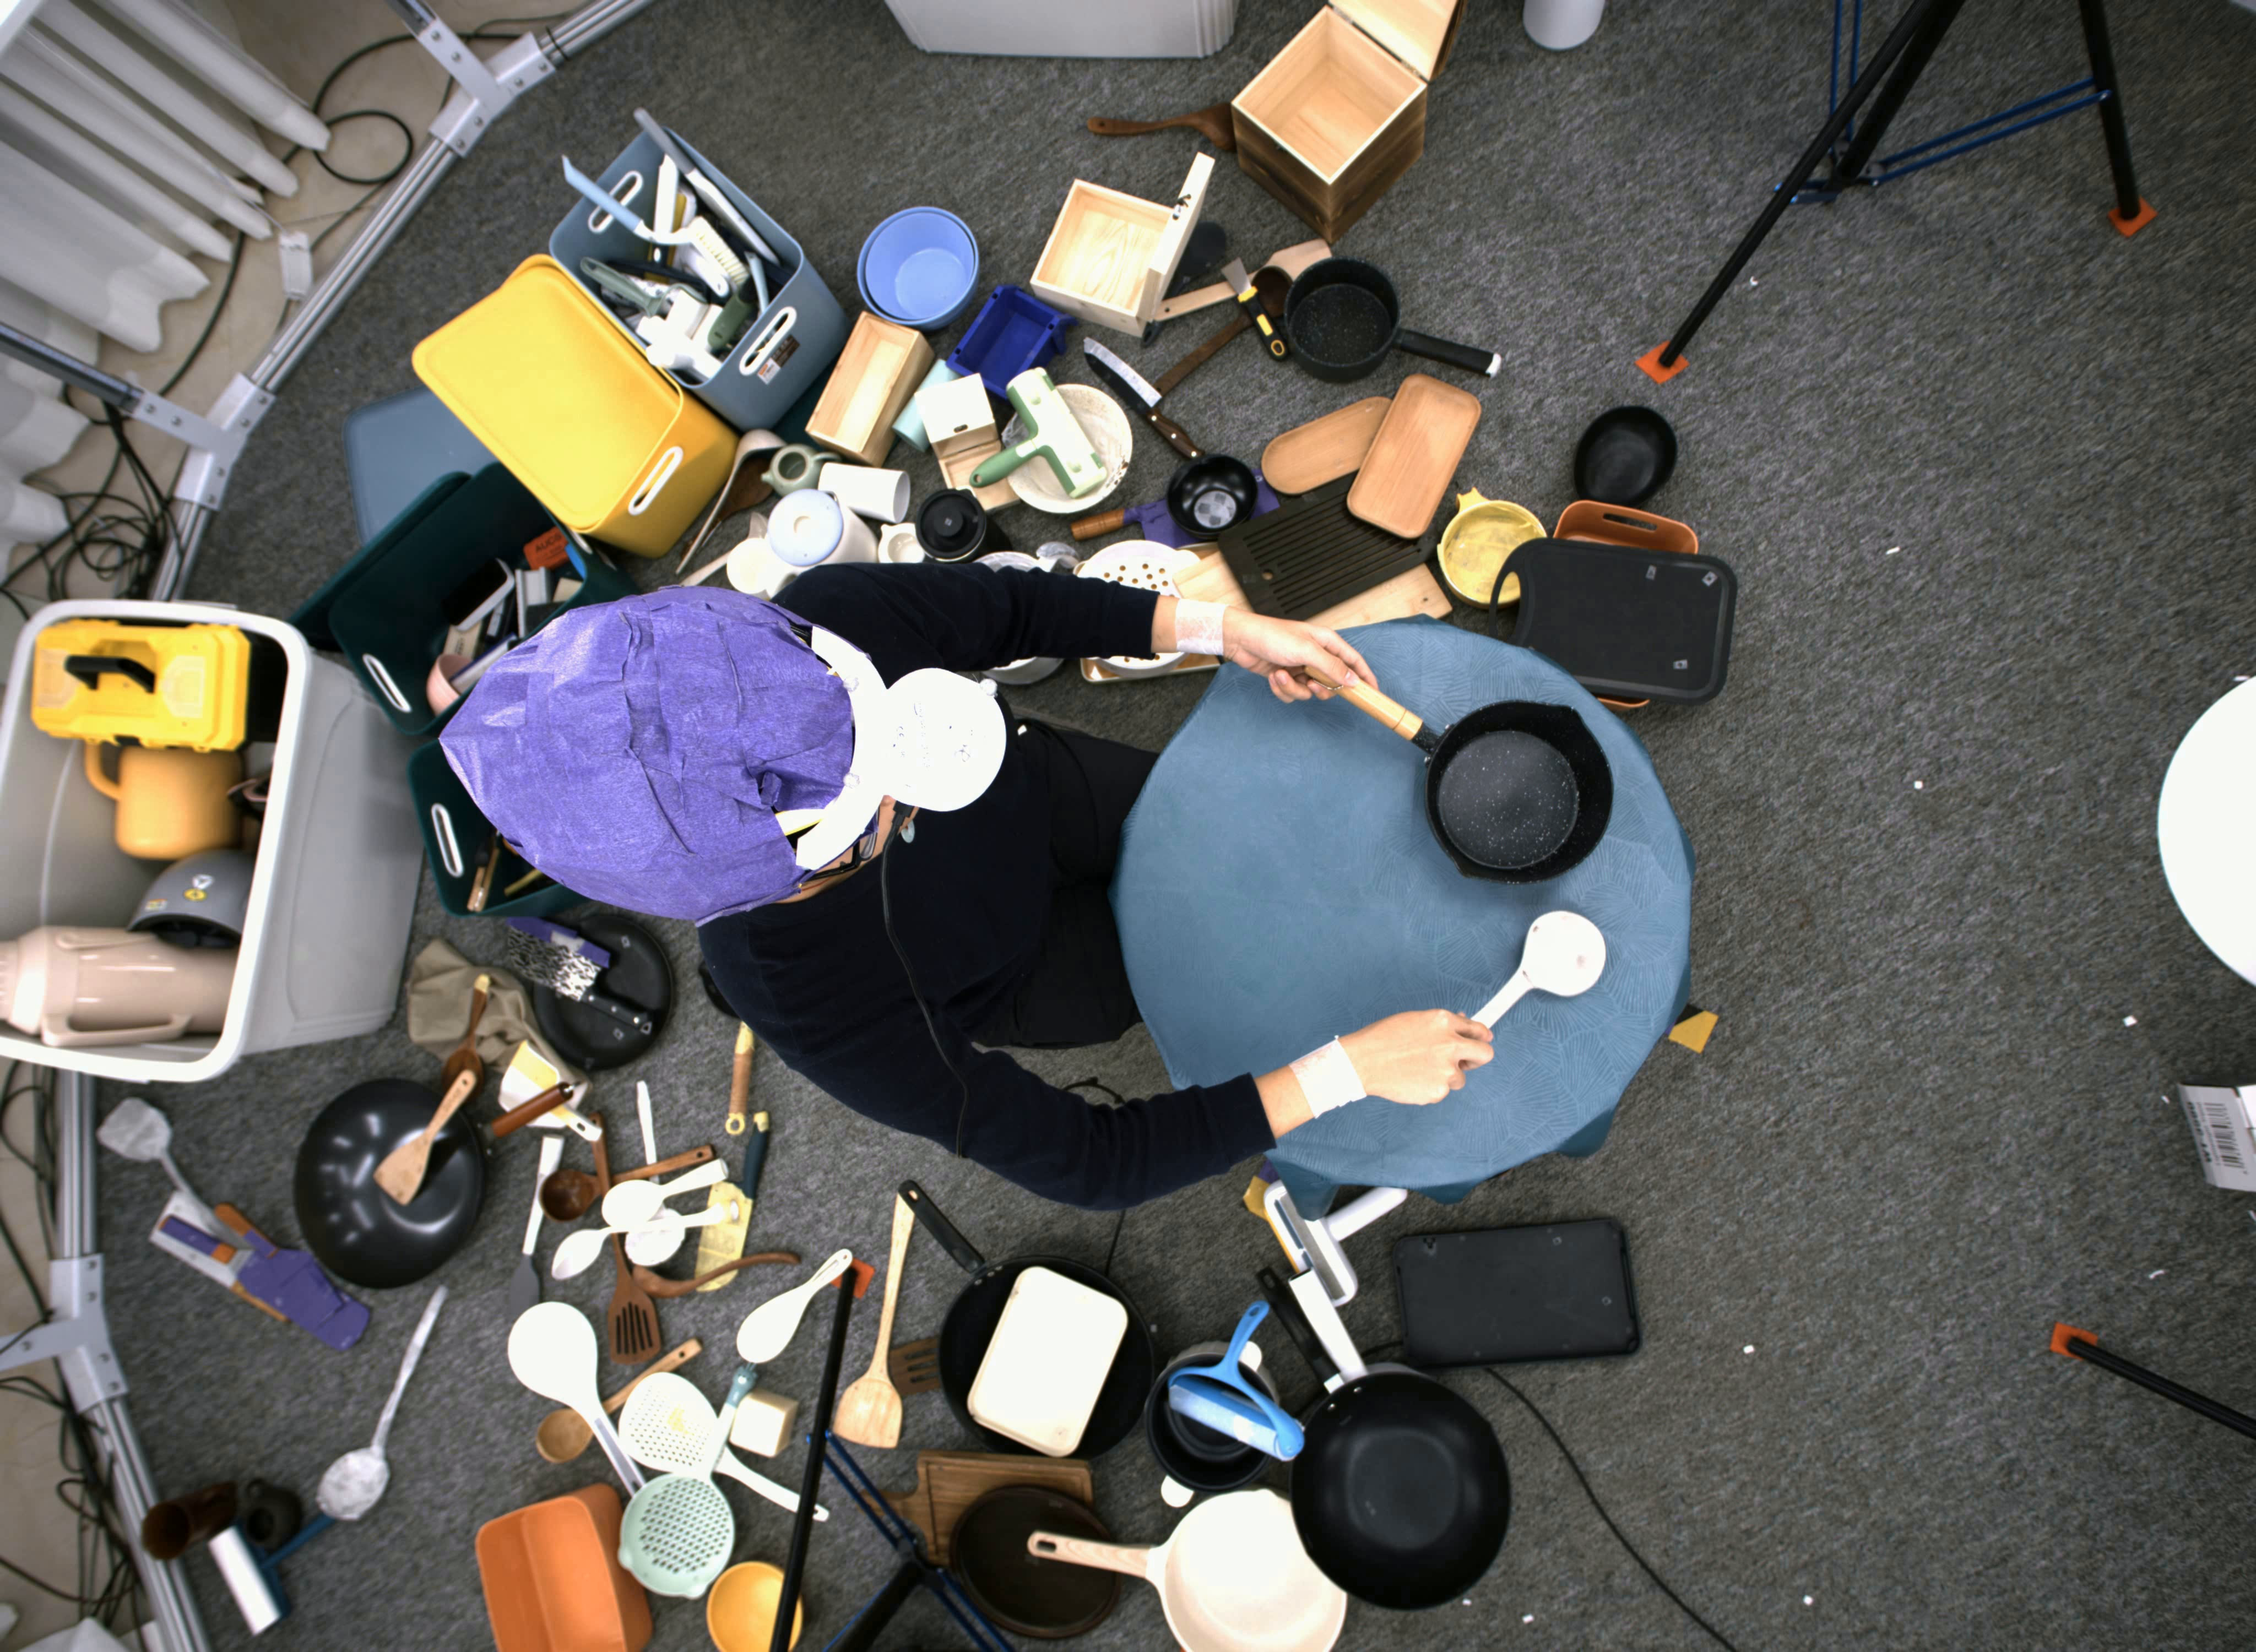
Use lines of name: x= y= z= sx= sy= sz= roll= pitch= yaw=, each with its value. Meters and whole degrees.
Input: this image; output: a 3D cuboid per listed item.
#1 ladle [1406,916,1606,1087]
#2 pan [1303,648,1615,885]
ladle: x=0.369 y=0.174 z=1.330 sx=0.070 sy=0.269 sz=0.090 roll=-14 pitch=103 yaw=51
pan: x=0.324 y=-0.075 z=1.397 sx=0.342 sy=0.108 sz=0.208 roll=32 pitch=93 yaw=7
